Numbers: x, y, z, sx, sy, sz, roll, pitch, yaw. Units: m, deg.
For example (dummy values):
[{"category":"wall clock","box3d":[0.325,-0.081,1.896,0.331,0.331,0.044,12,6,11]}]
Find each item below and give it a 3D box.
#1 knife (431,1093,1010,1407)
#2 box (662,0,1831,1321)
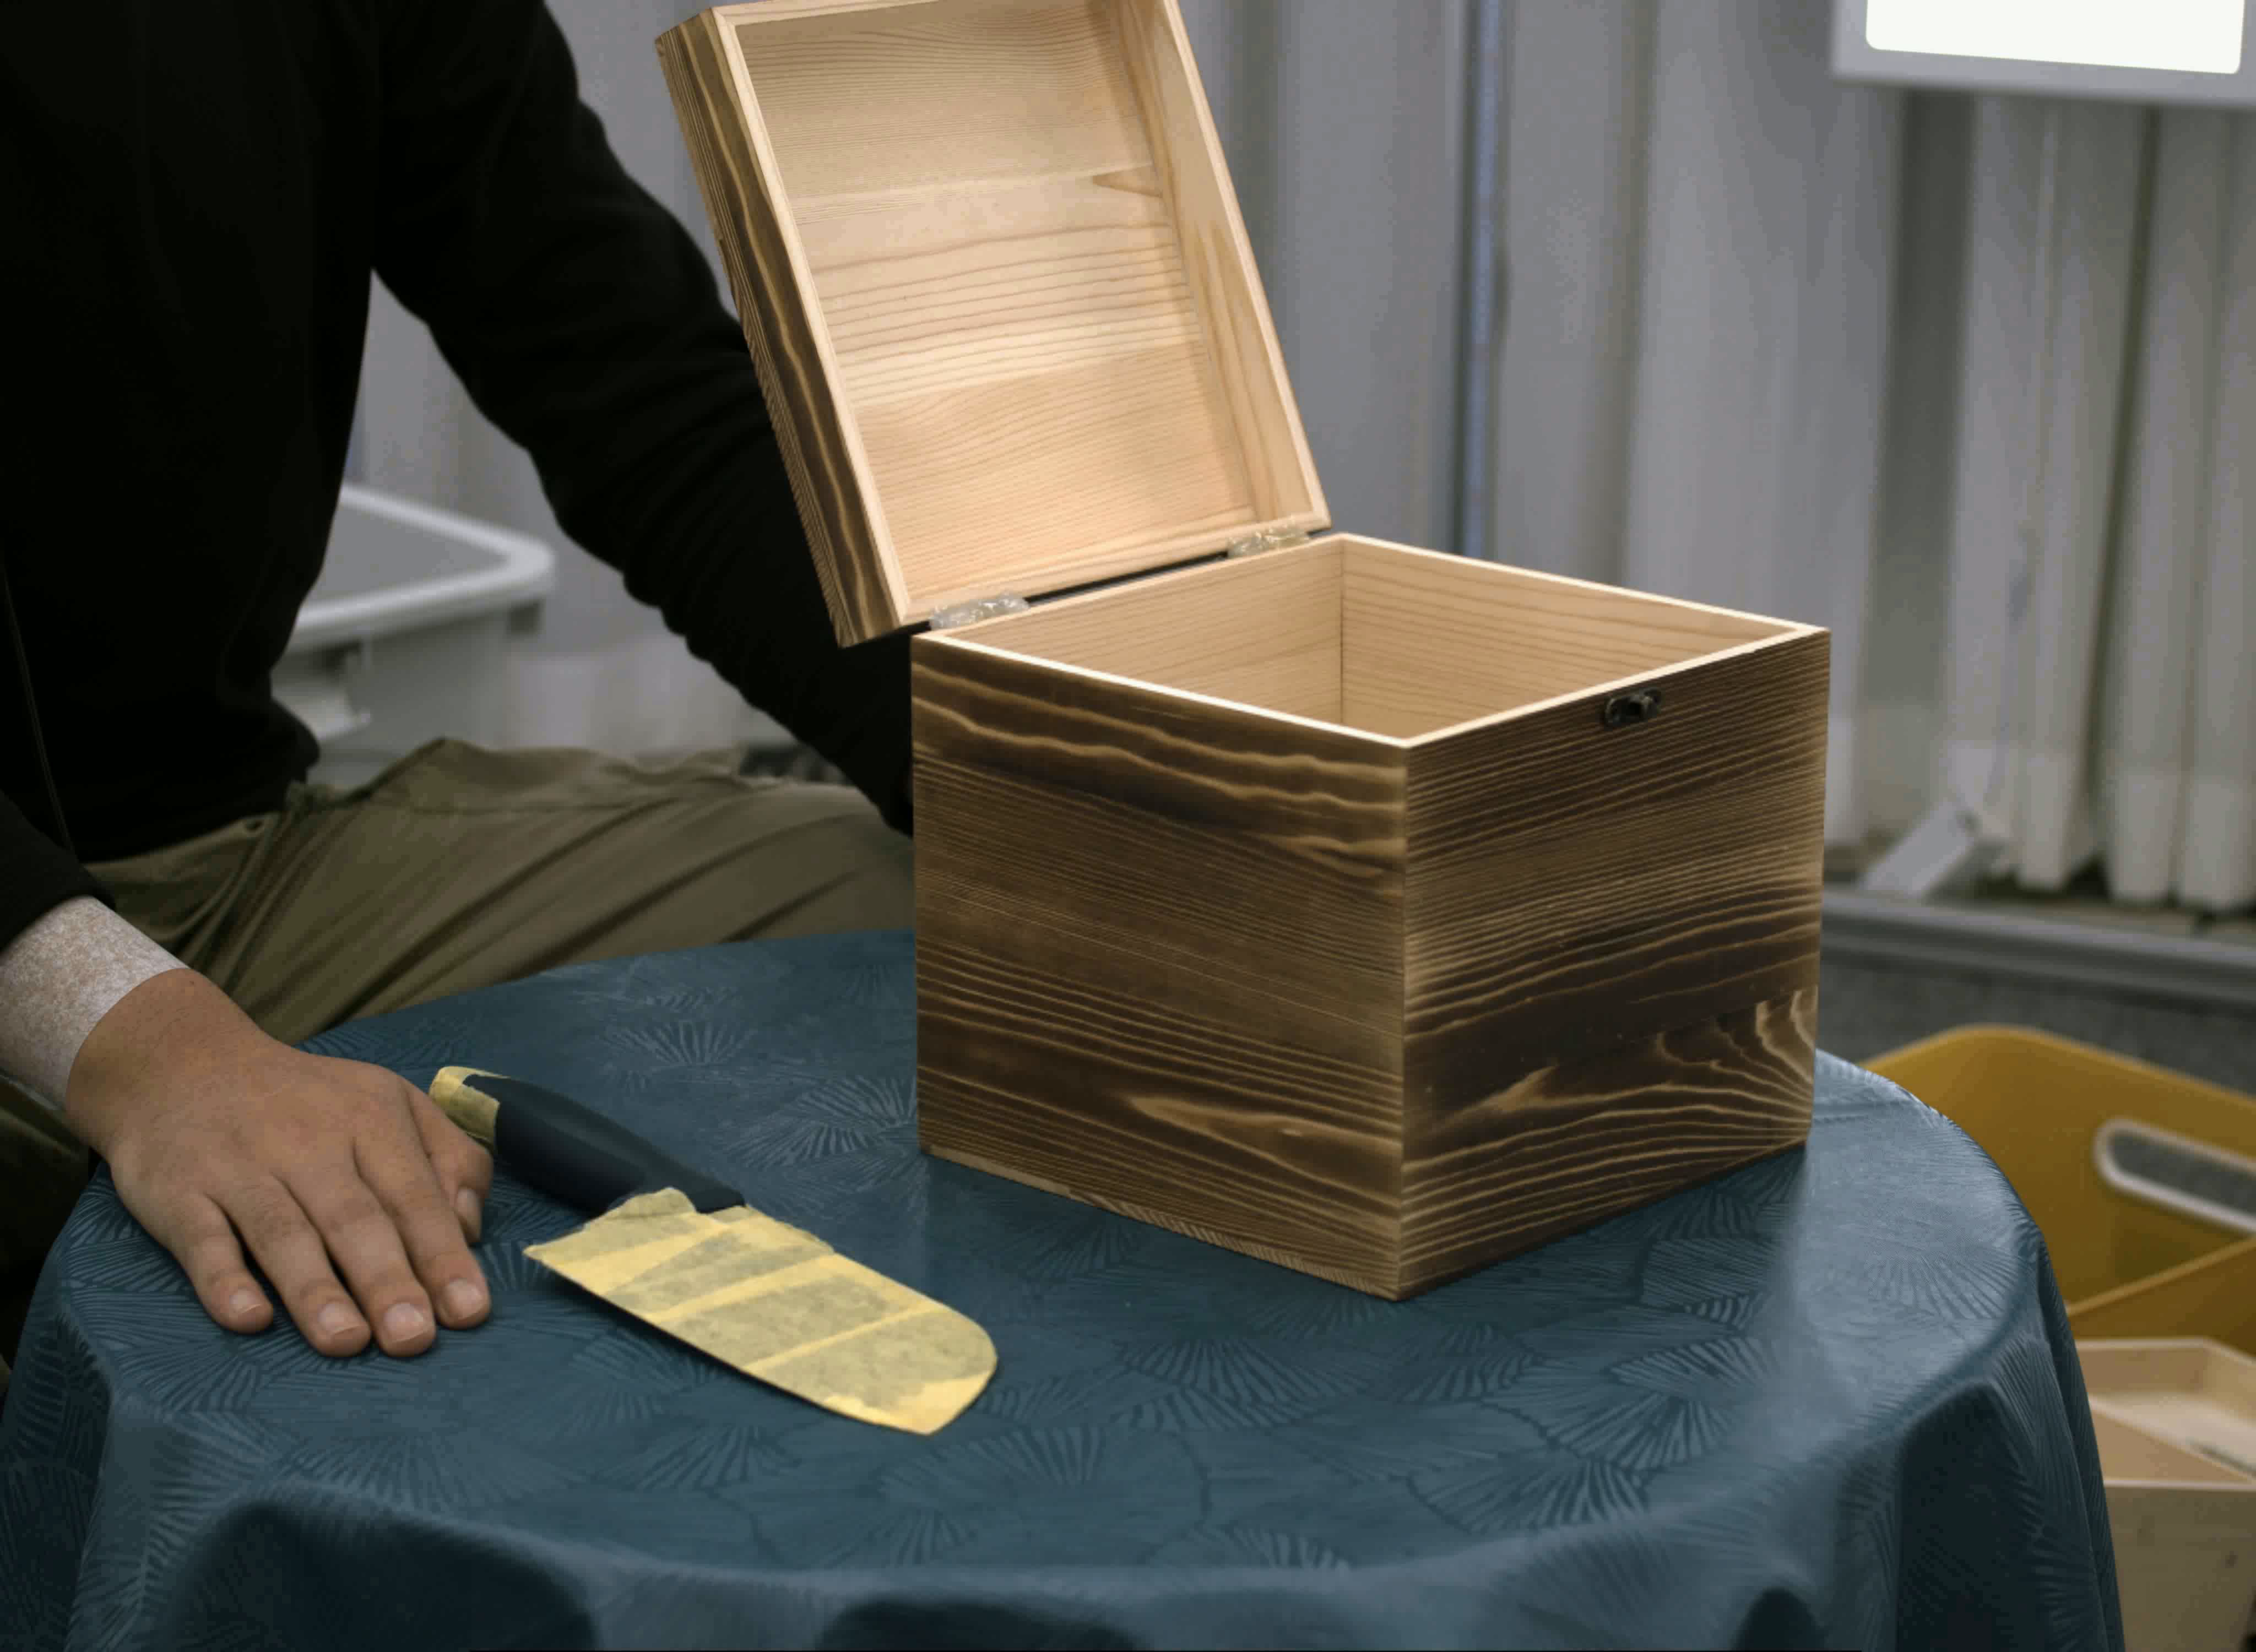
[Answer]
[{"category":"knife","box3d":[-0.132,0.125,1.545,0.081,0.027,0.285,-9,19,-38]},{"category":"box","box3d":[0.036,-0.080,1.642,0.318,0.378,0.209,13,22,41]}]
